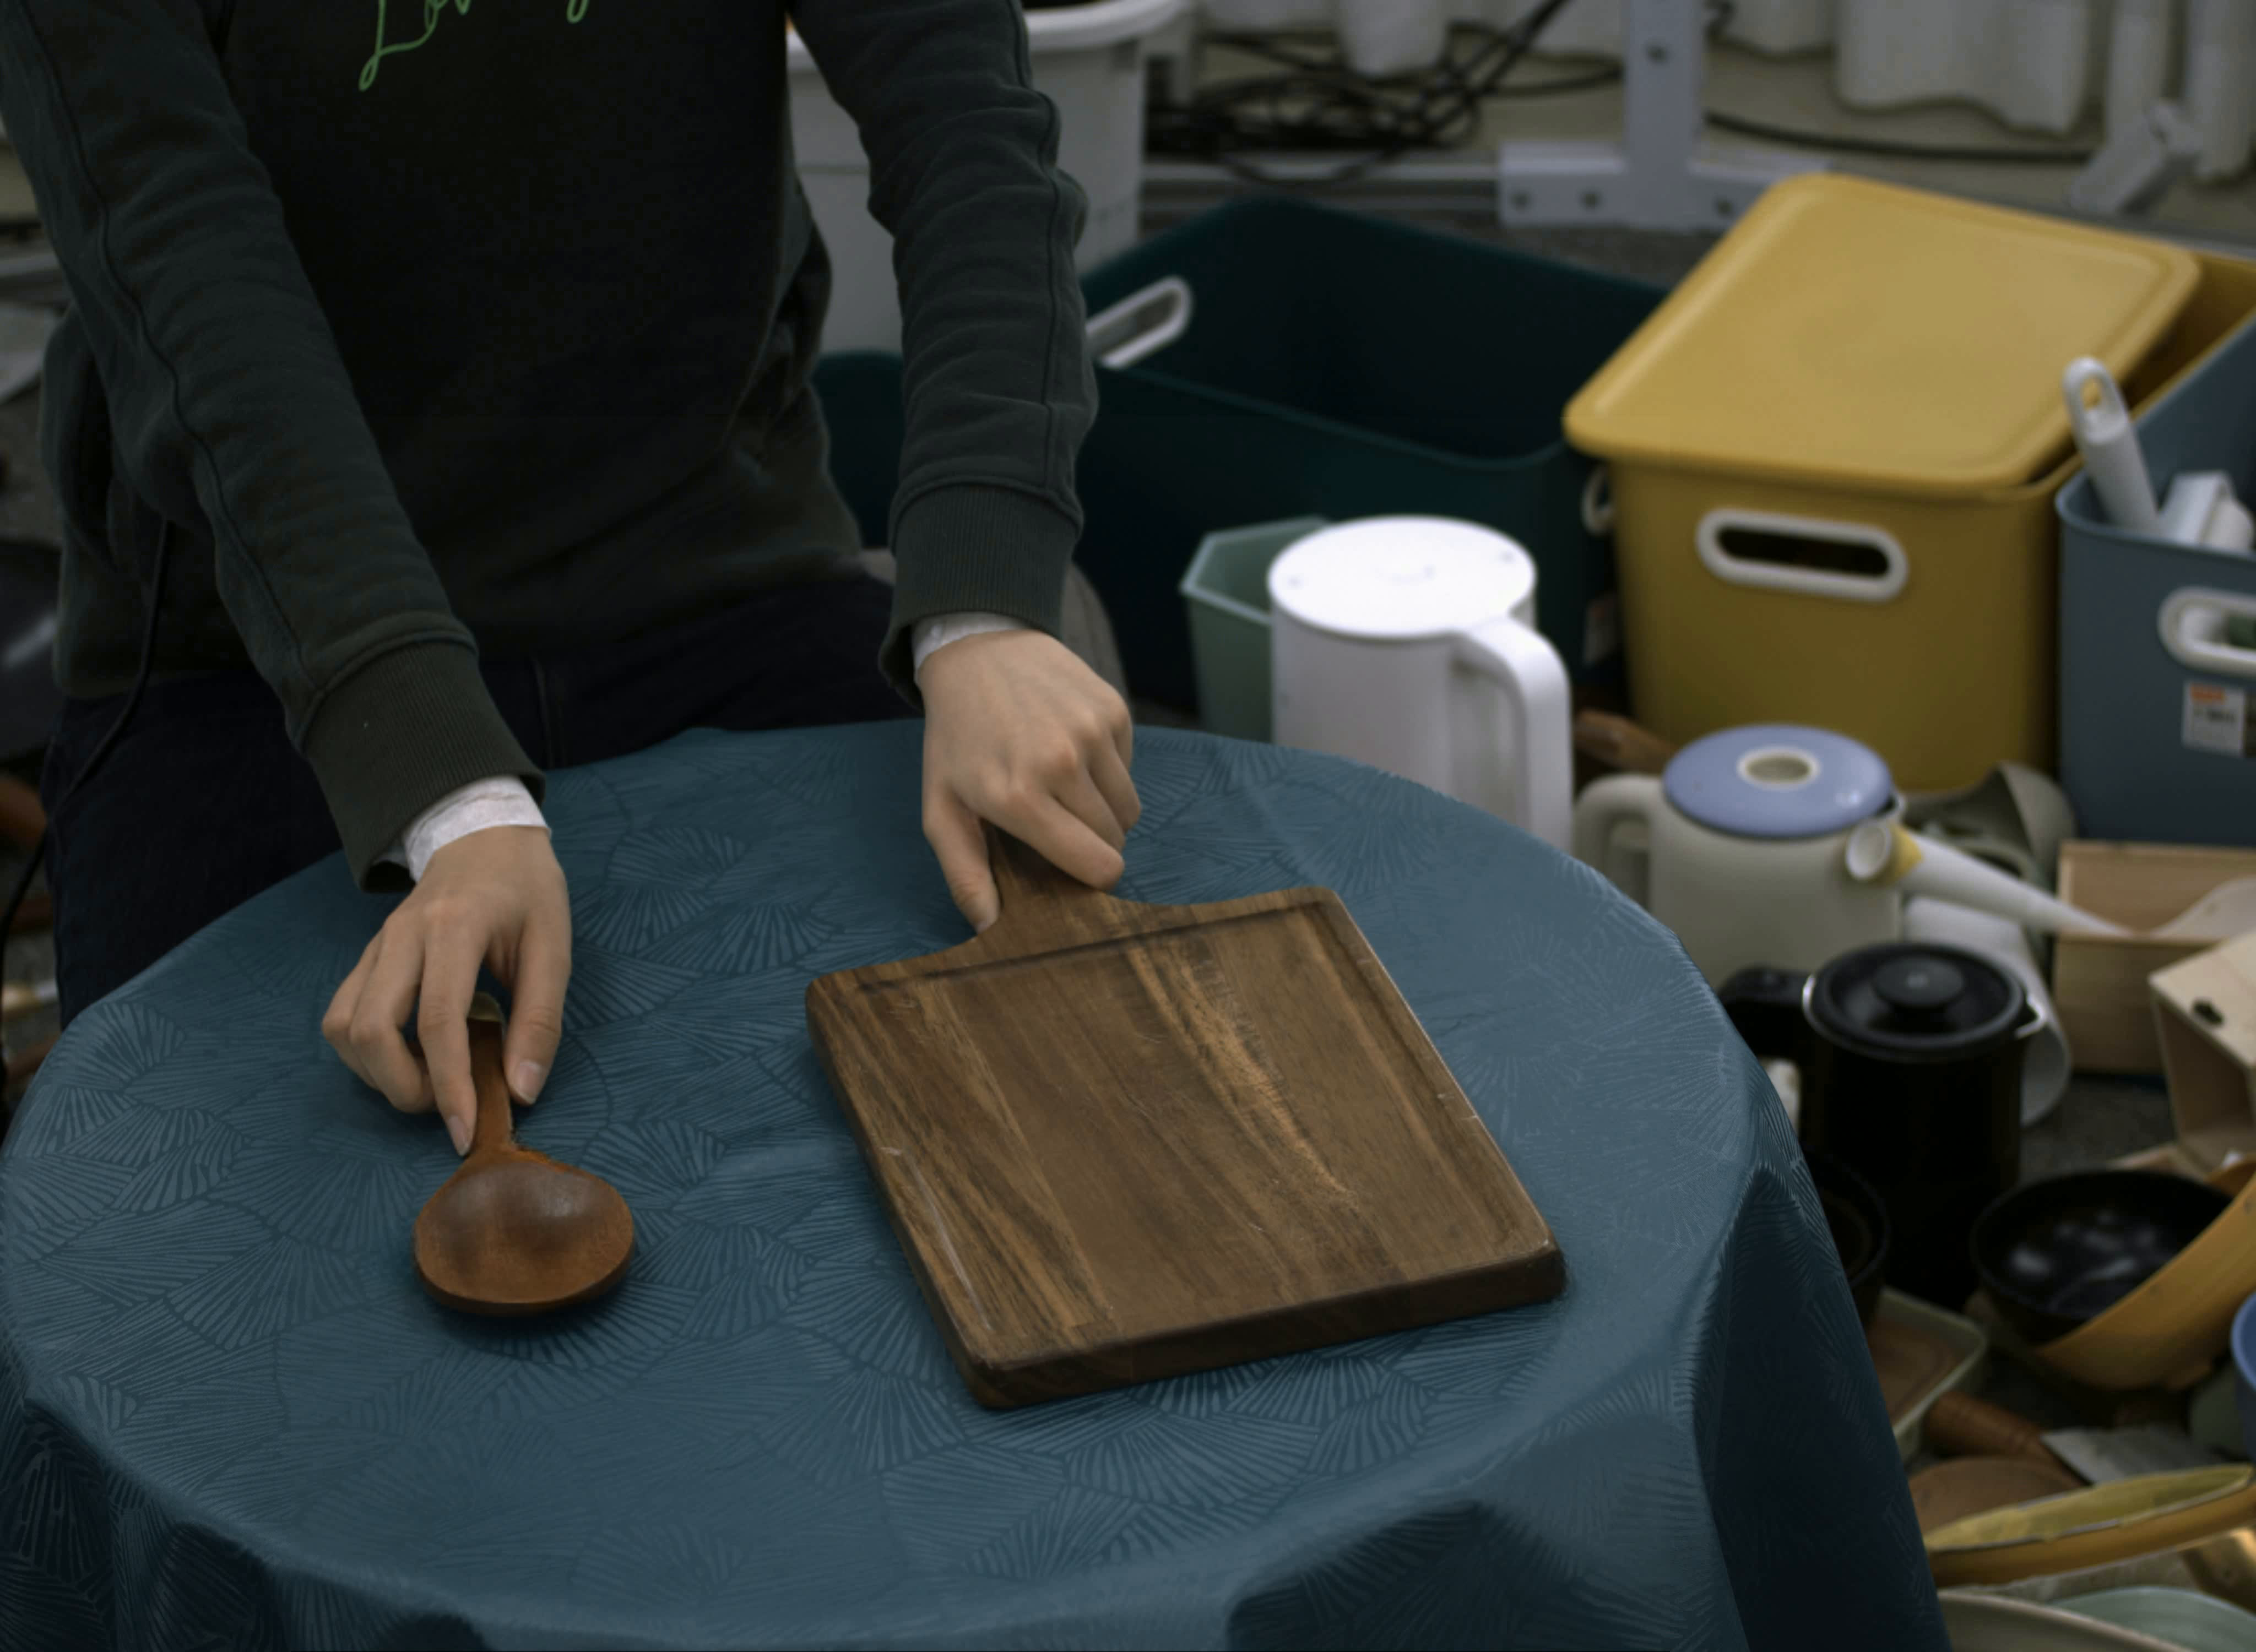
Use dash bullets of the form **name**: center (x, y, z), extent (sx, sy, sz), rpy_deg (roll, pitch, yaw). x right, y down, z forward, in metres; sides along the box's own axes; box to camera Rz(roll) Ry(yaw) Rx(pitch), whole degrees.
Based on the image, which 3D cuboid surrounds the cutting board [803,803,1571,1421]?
- **cutting board**: center (0.001, 0.081, 1.912), extent (0.201, 0.023, 0.356), rpy_deg (-11, 30, -12)

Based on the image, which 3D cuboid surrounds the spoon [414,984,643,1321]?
- **spoon**: center (-0.209, 0.110, 1.885), extent (0.075, 0.017, 0.218), rpy_deg (-10, 29, -9)
